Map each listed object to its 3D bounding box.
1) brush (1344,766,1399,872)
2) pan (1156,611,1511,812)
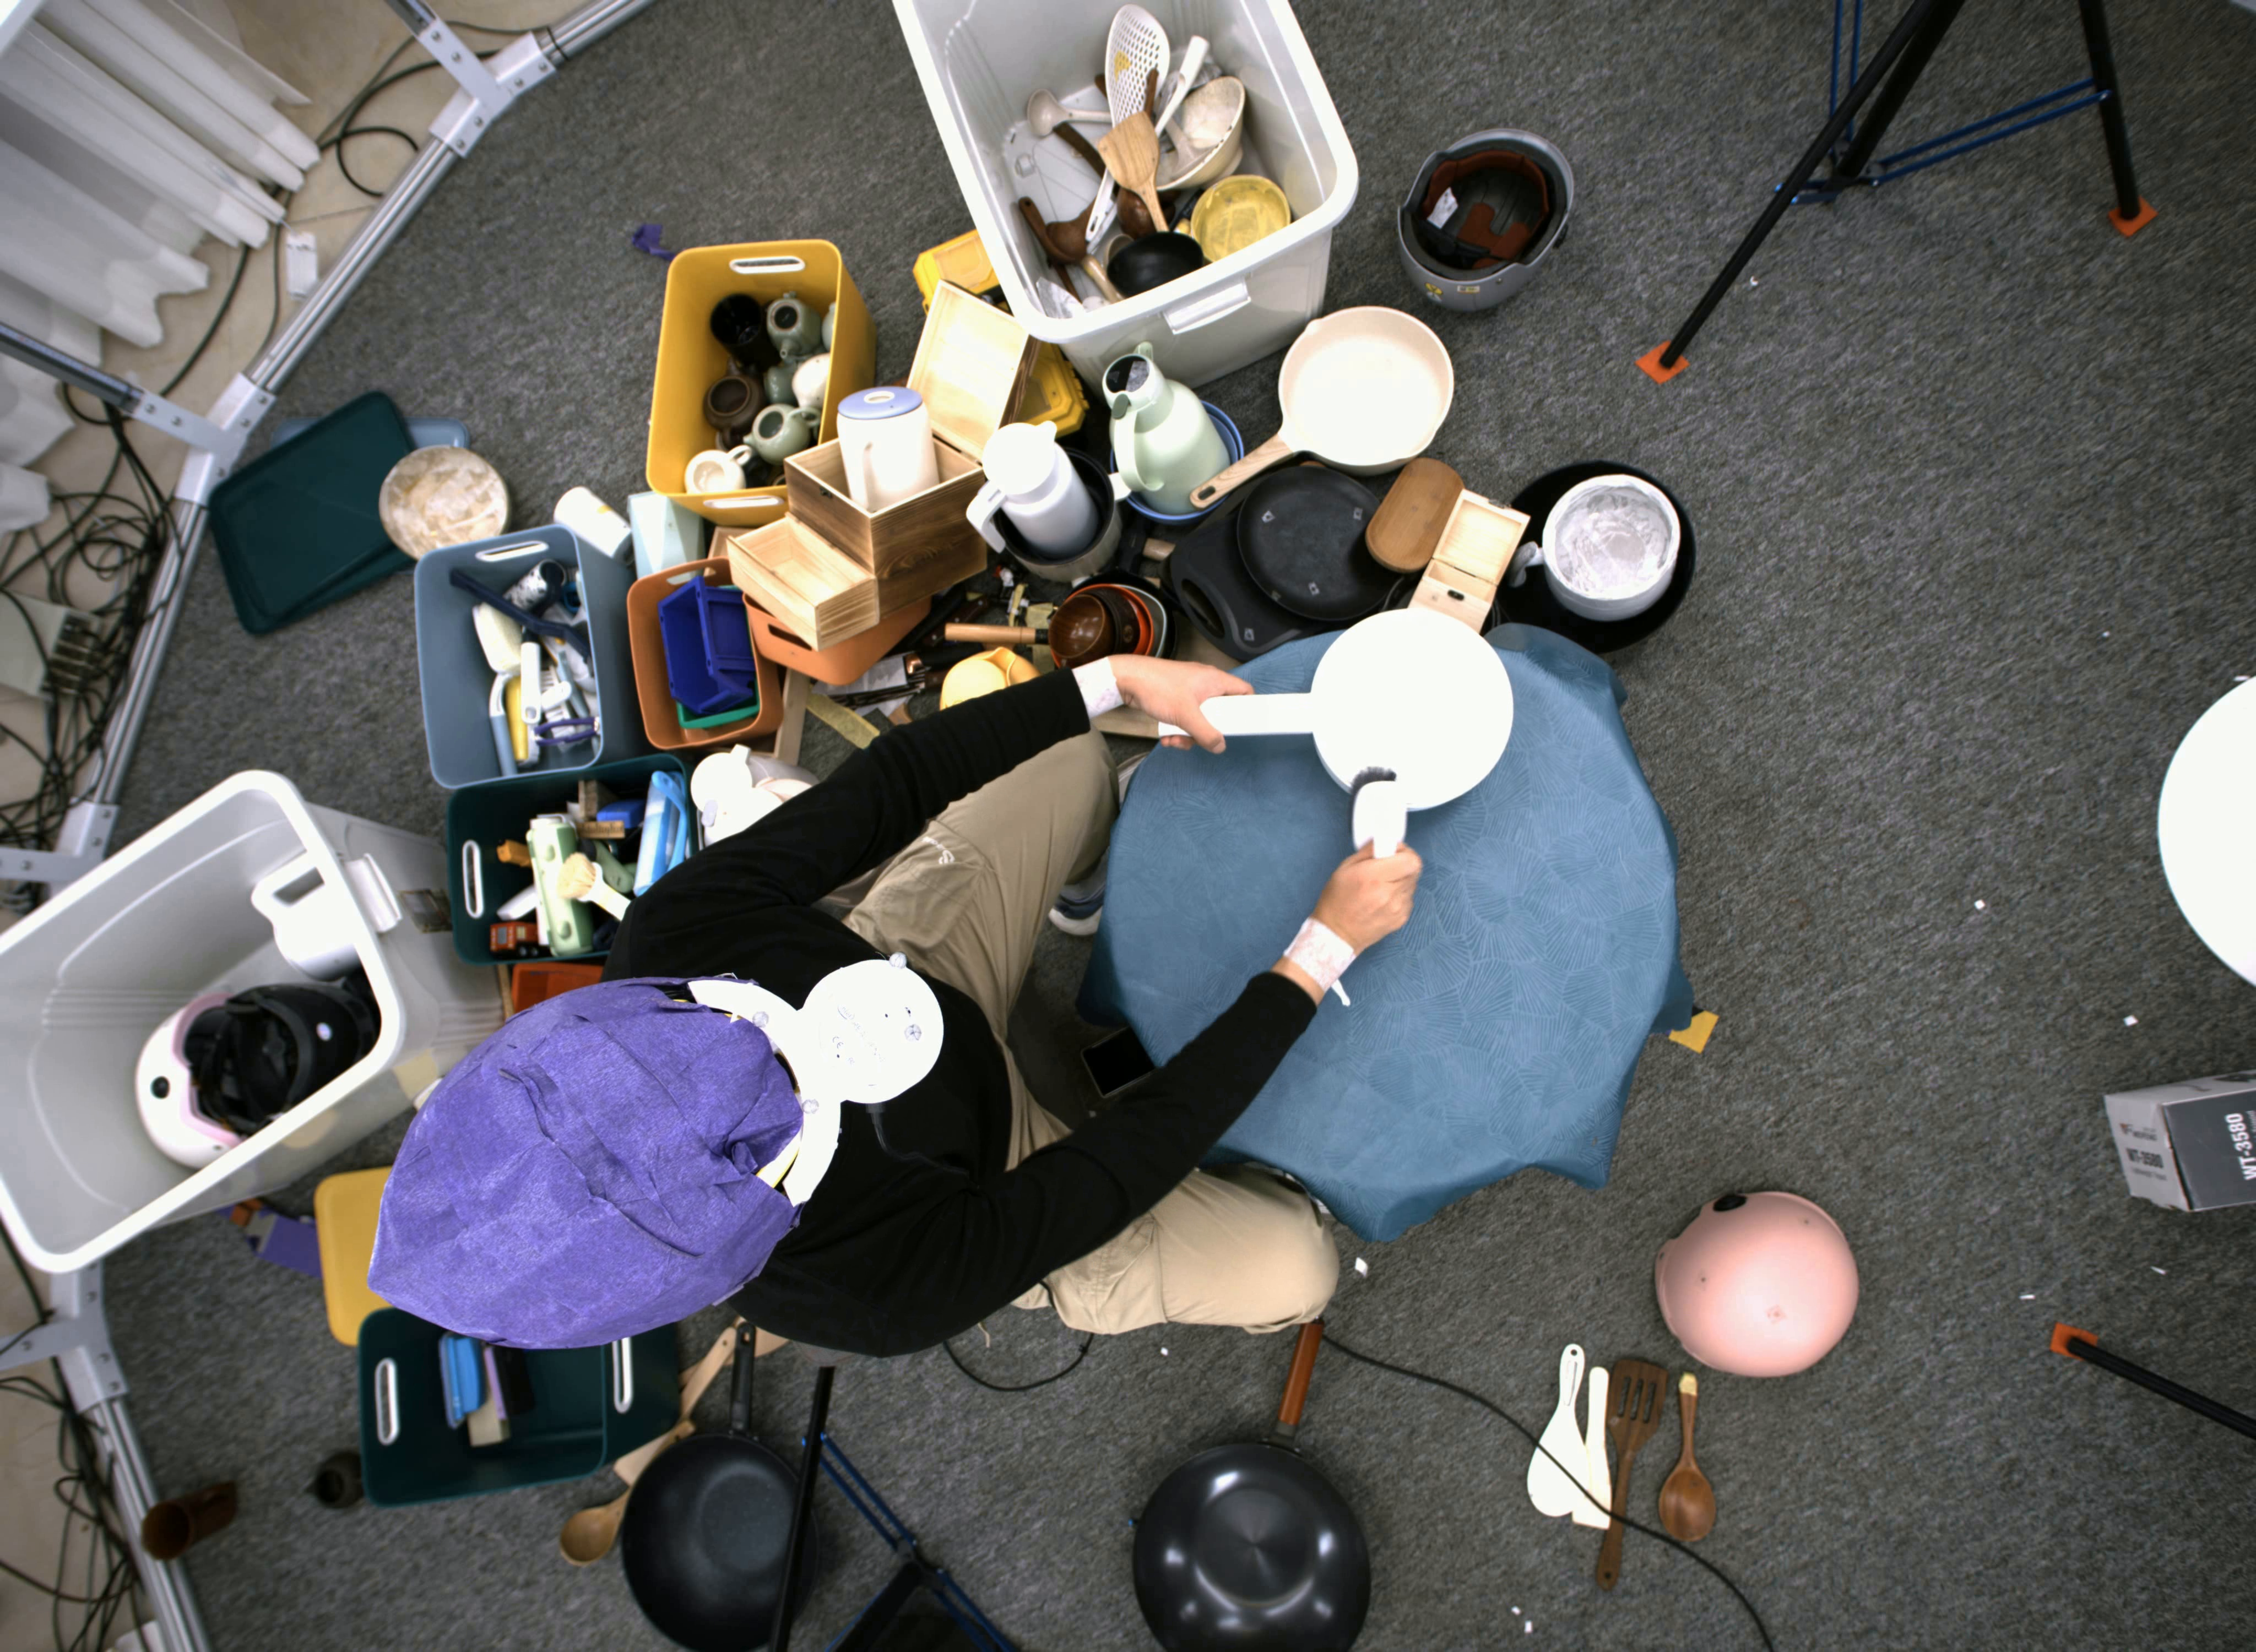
[{"bbox_3d":[0.240,0.000,1.348,0.050,0.101,0.070,-3,41,3],"label":"brush"},{"bbox_3d":[0.209,-0.112,1.424,0.356,0.102,0.200,-2,88,7],"label":"pan"}]
